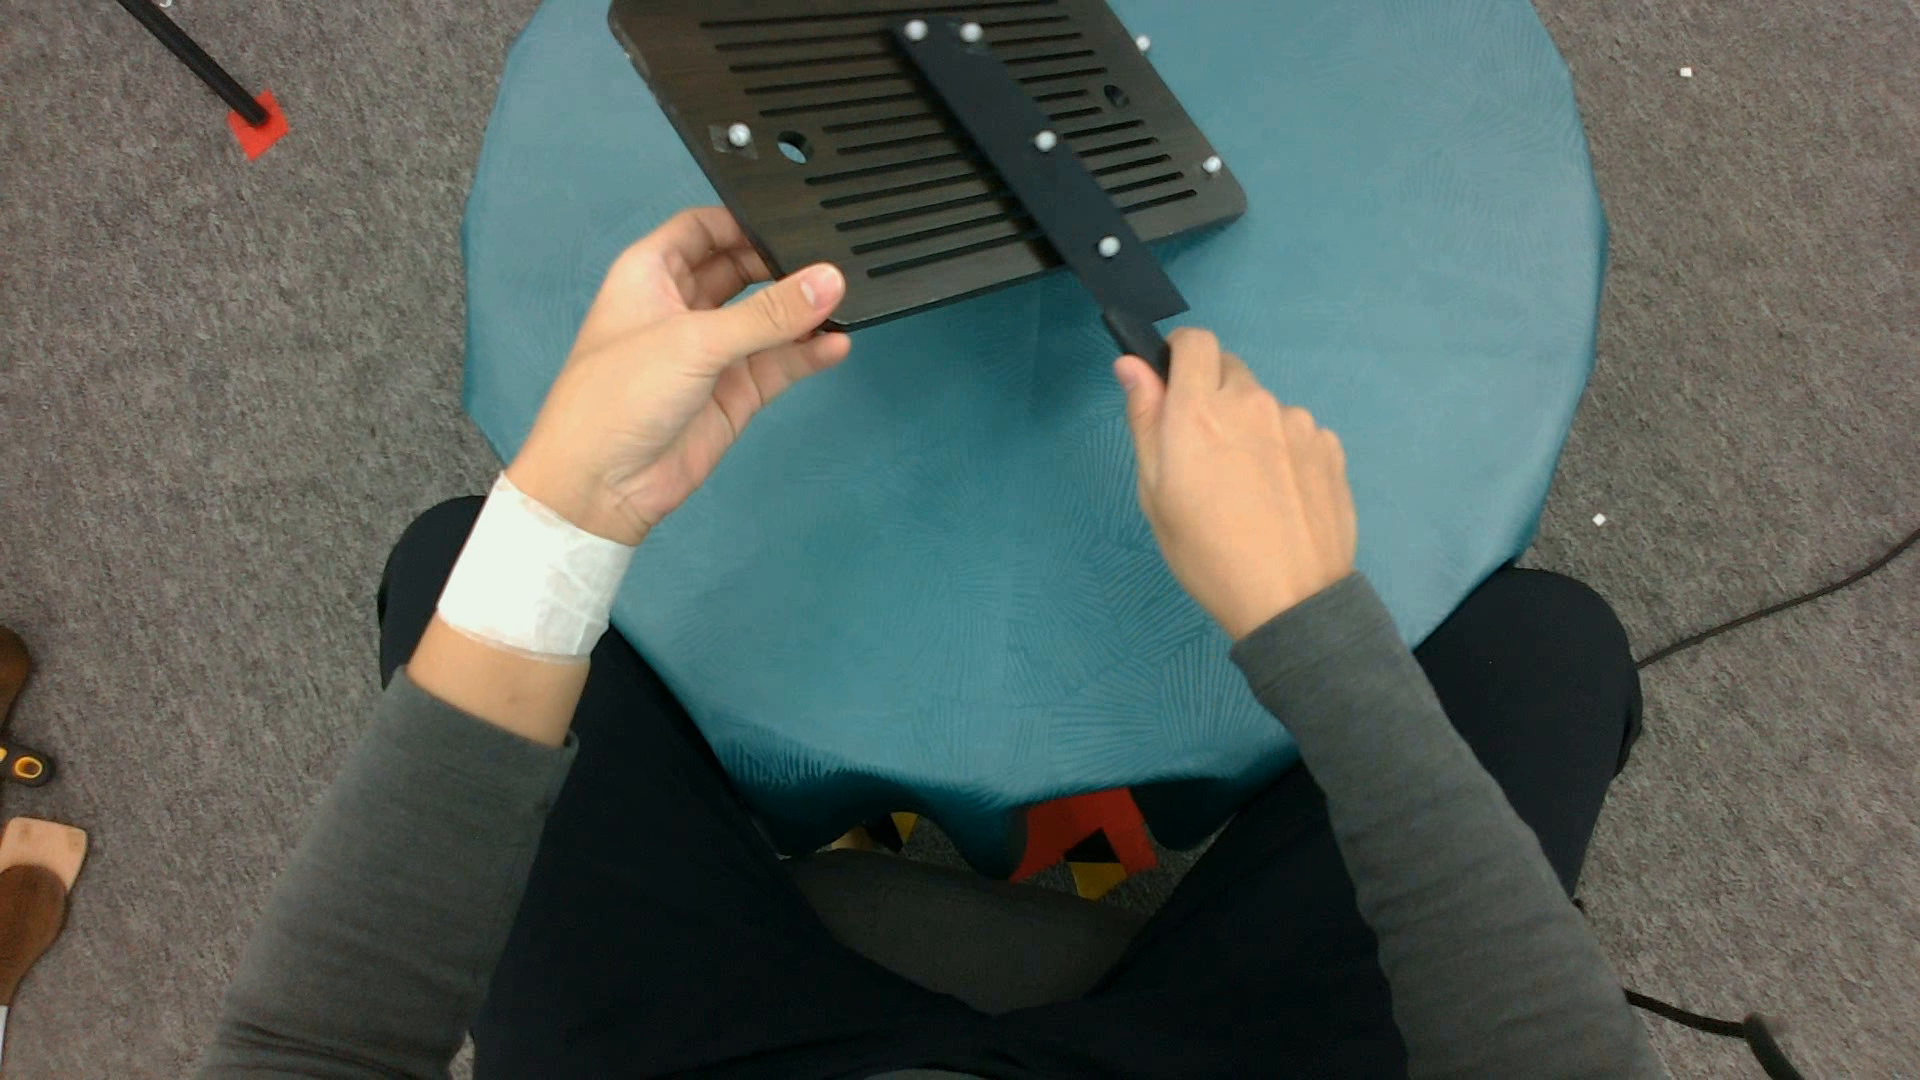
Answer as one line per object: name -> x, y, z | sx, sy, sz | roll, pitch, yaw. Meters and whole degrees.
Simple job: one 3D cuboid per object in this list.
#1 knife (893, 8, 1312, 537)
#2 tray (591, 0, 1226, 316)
knife -> 0.067, -0.129, 0.625 | 0.081, 0.021, 0.302 | -17, 71, -47
tray -> -0.007, -0.199, 0.639 | 0.307, 0.018, 0.170 | -25, 78, -42
